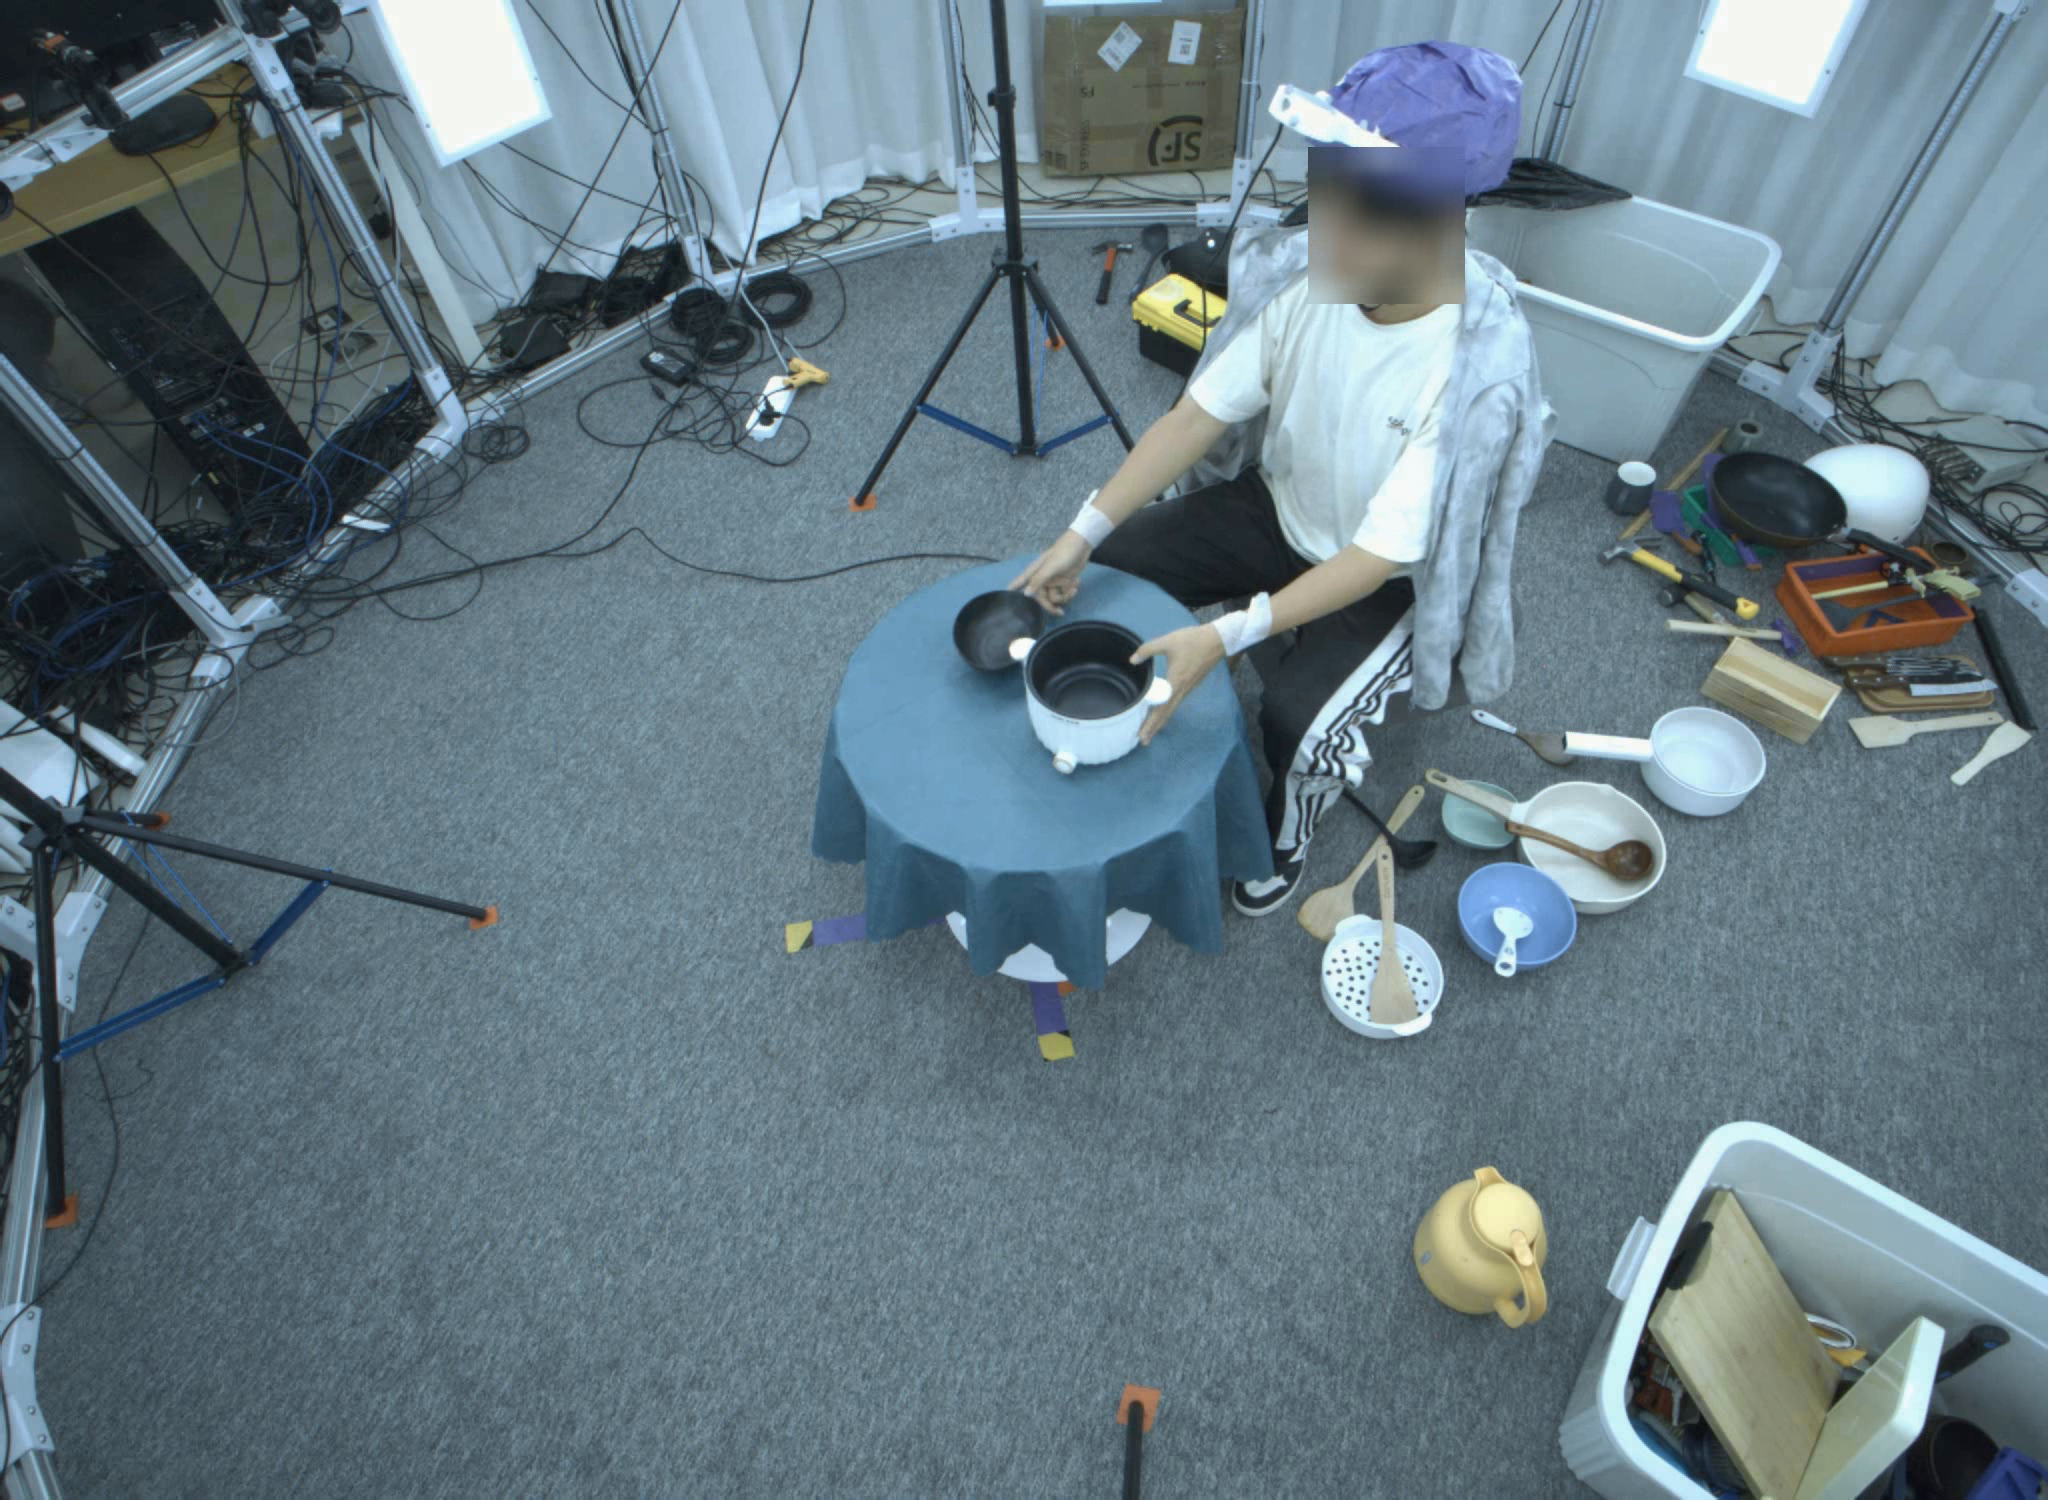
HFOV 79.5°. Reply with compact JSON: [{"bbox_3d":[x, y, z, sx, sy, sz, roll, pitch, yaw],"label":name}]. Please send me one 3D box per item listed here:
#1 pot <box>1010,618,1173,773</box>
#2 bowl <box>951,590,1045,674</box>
[{"bbox_3d":[0.093,-0.072,1.752,0.237,0.144,0.190,17,54,15],"label":"pot"},{"bbox_3d":[-0.037,-0.172,1.873,0.136,0.067,0.170,13,56,10],"label":"bowl"}]
